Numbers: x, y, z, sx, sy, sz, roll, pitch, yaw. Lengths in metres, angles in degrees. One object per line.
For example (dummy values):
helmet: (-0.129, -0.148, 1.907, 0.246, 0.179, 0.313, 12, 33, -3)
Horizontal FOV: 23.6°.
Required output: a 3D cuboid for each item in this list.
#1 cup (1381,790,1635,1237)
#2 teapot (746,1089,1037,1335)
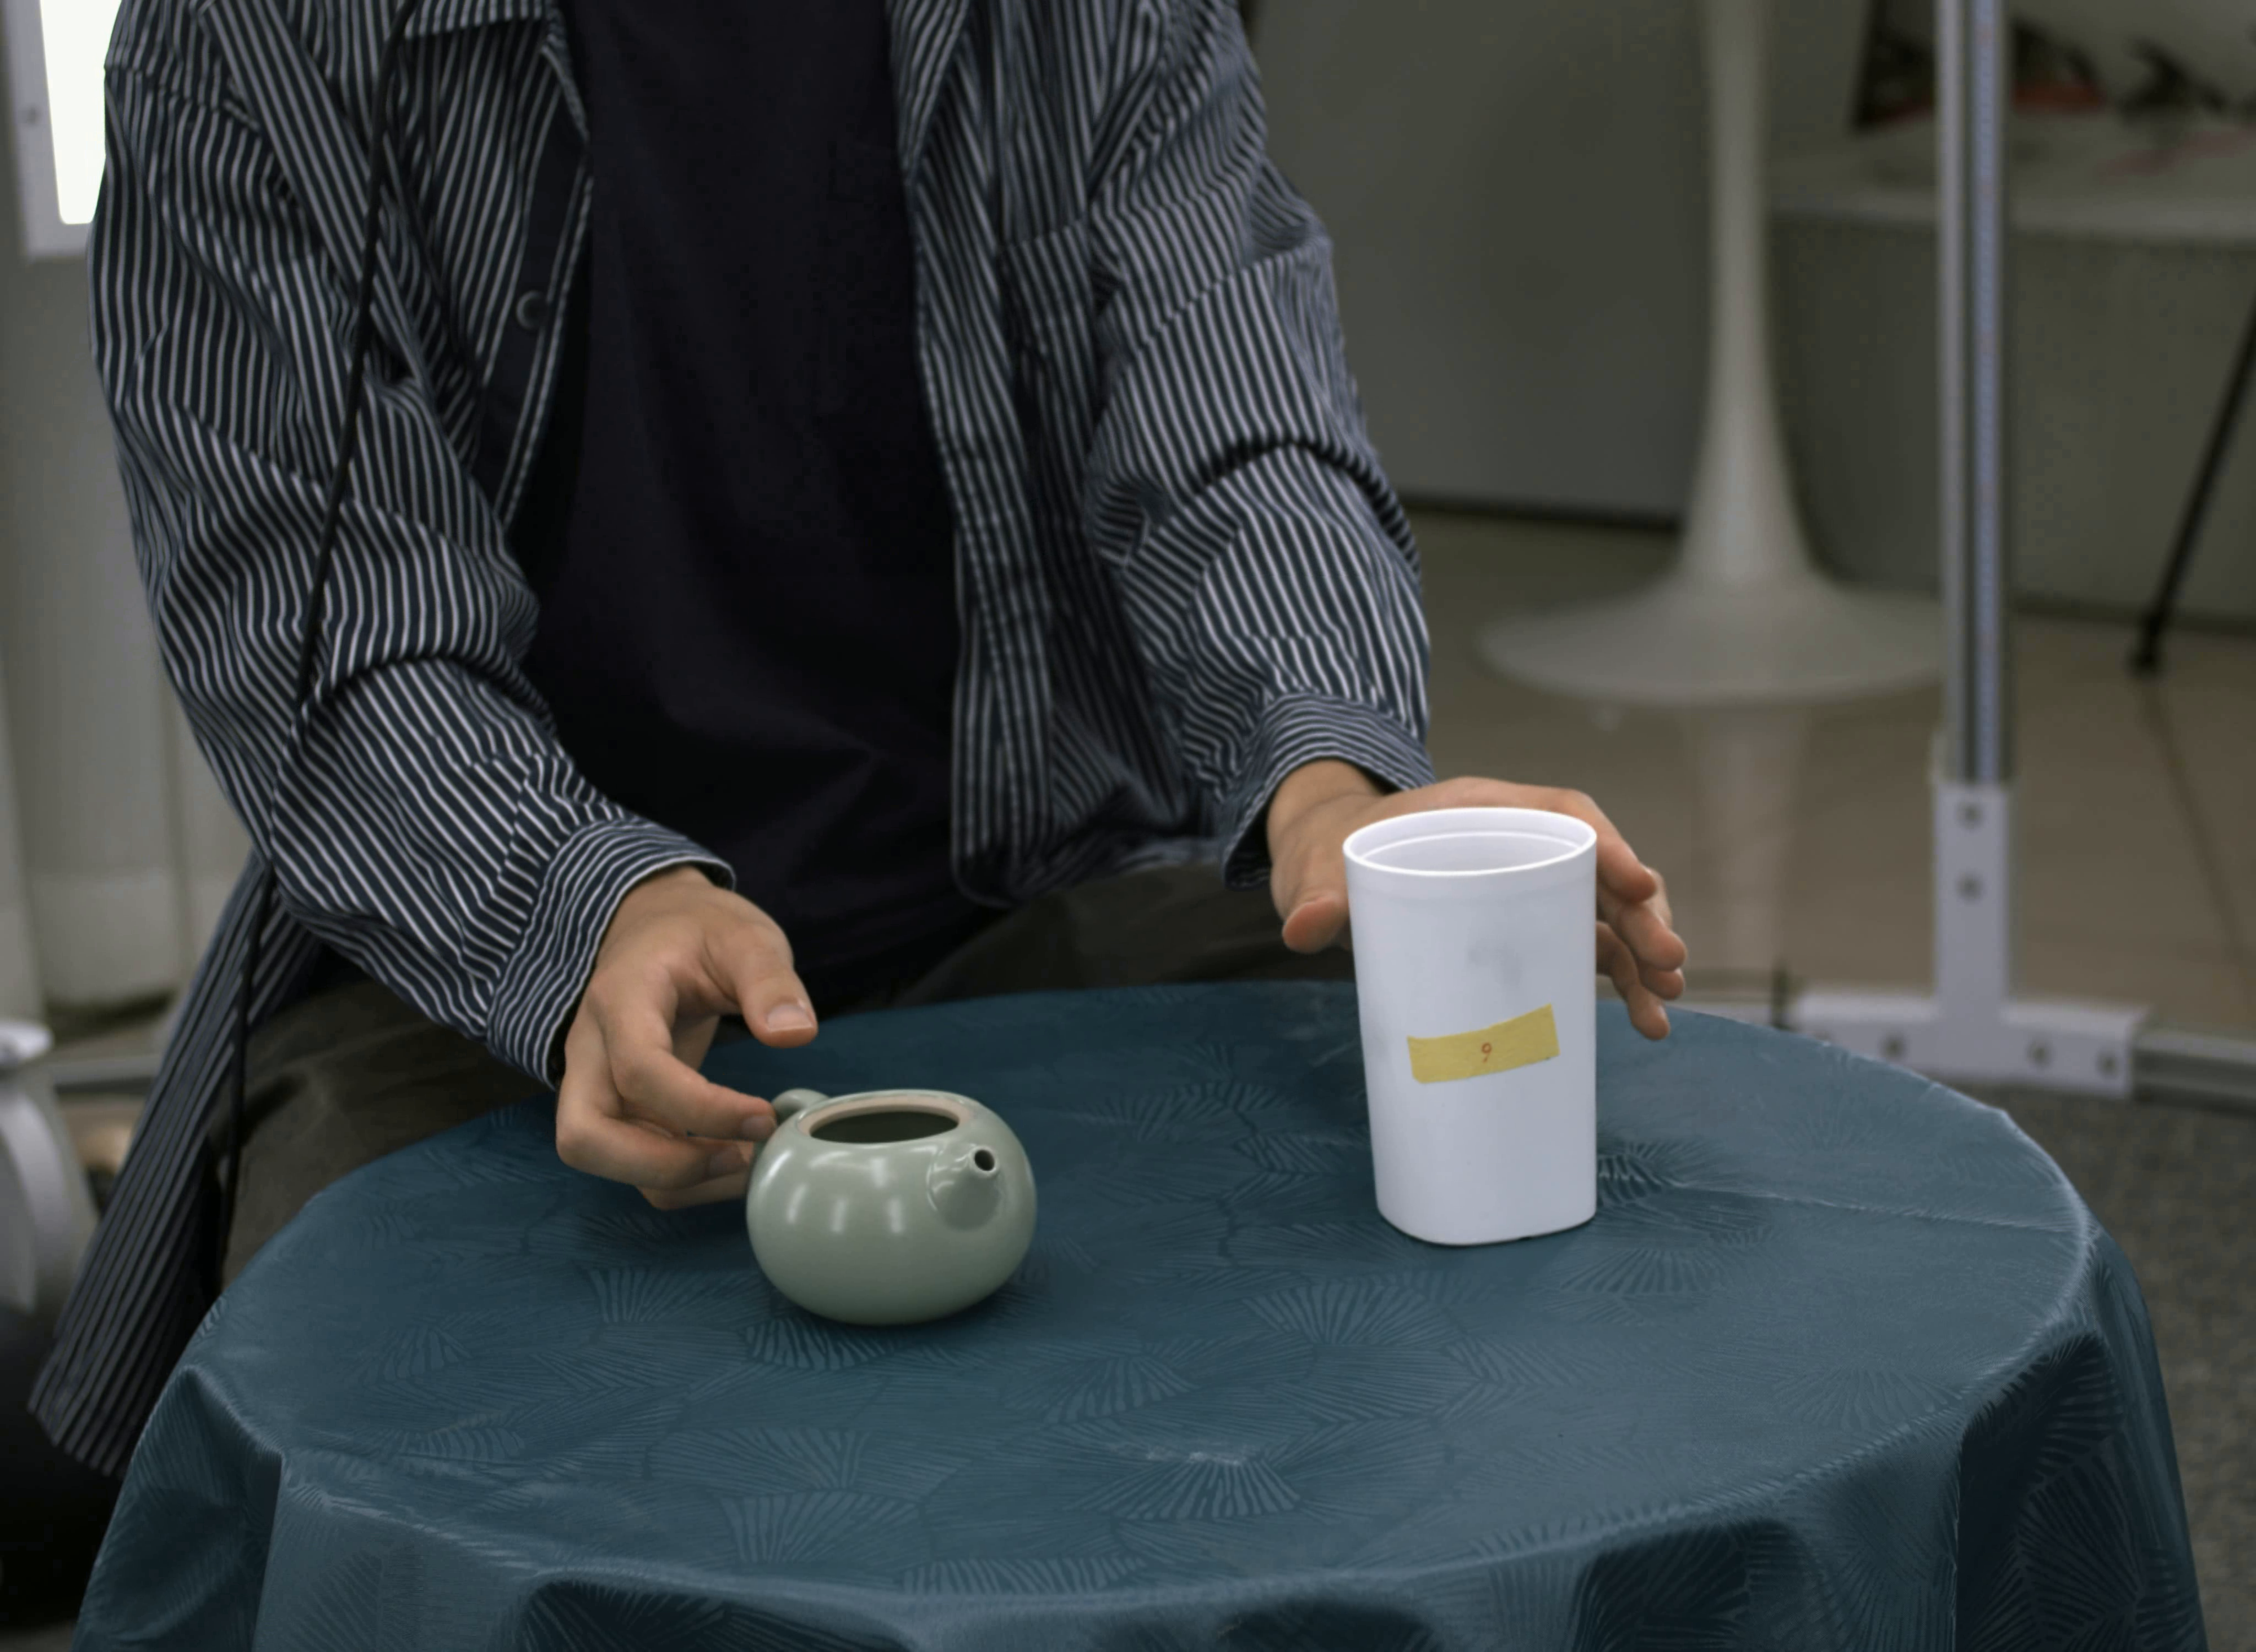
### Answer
cup: (0.124, 0.060, 1.708, 0.080, 0.127, 0.082, -4, 13, 0)
teapot: (-0.078, 0.118, 1.680, 0.089, 0.061, 0.130, -14, 17, -30)
